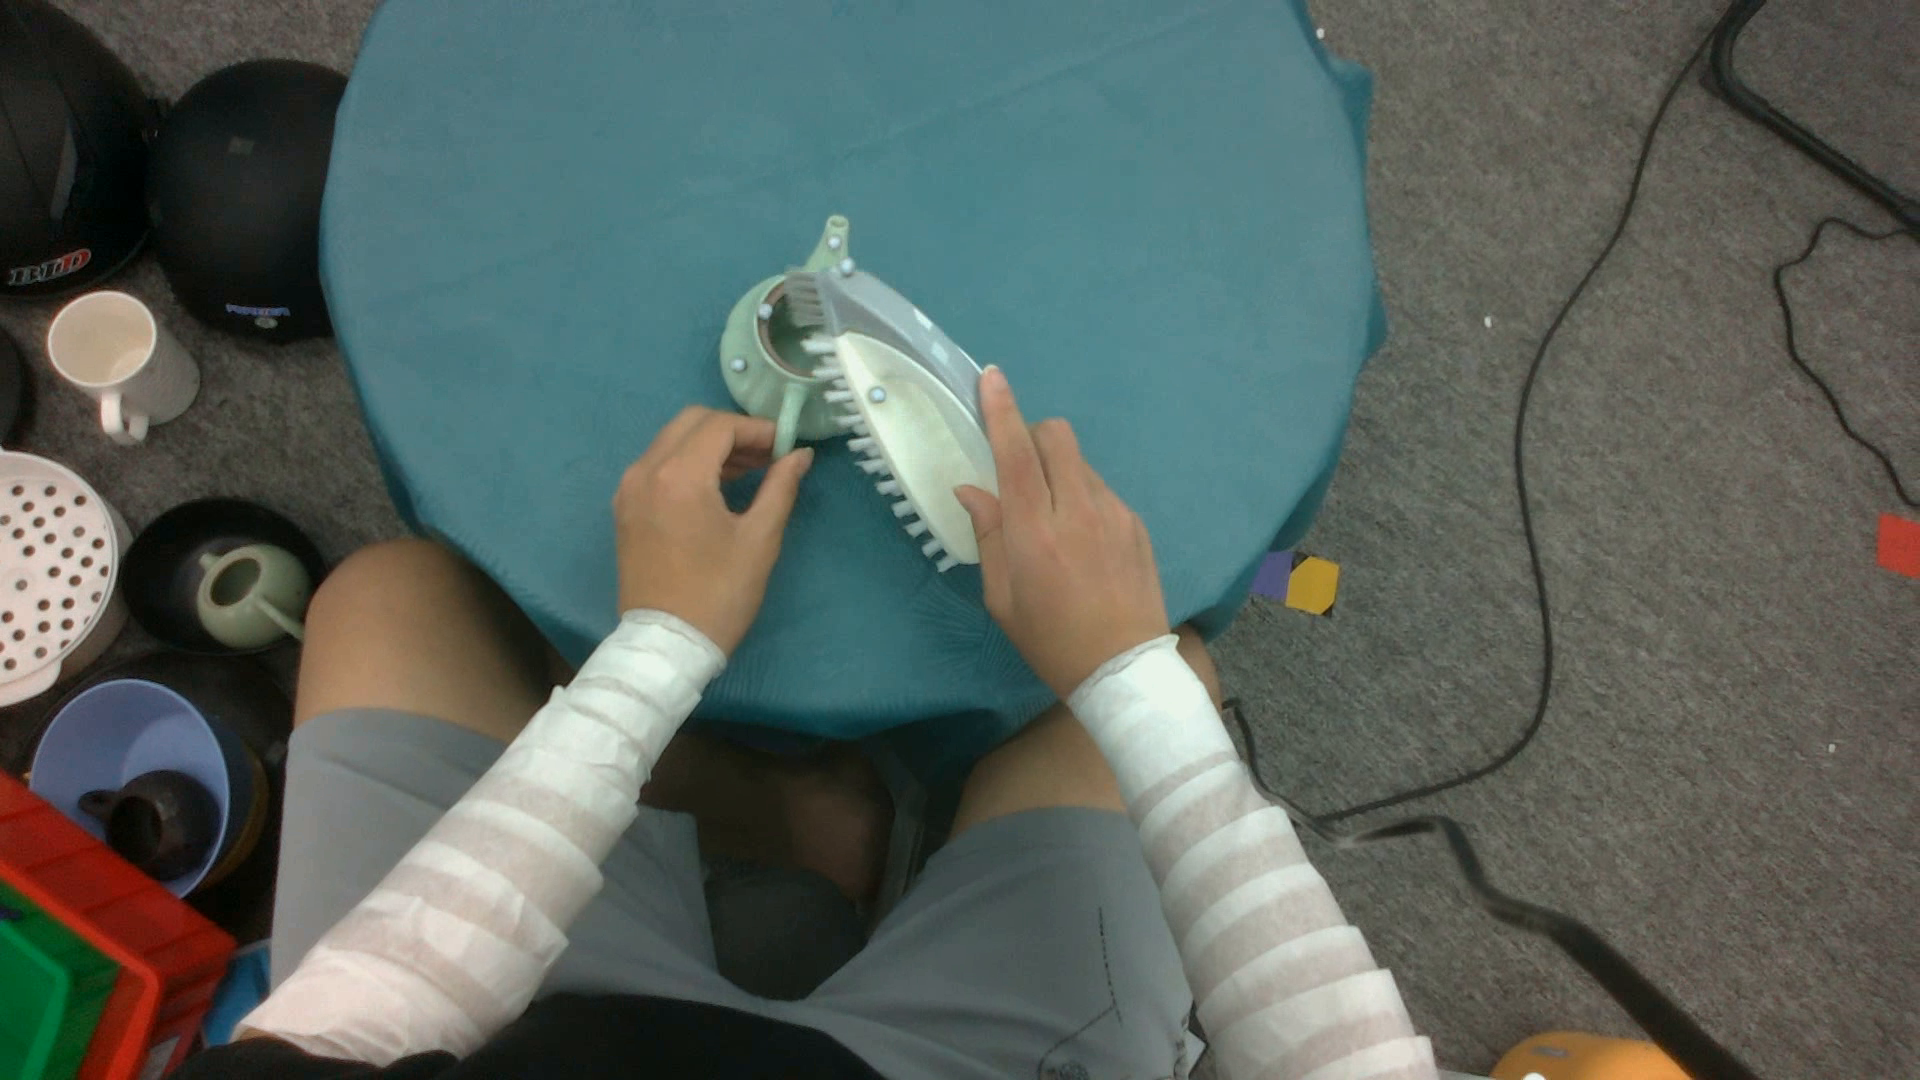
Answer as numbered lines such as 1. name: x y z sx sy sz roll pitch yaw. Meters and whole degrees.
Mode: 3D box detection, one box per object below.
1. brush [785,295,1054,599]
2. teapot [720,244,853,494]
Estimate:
1. brush: -0.016 -0.055 0.693 0.062 0.094 0.175 -45 107 -33
2. teapot: -0.082 -0.087 0.747 0.096 0.061 0.137 9 72 -6
